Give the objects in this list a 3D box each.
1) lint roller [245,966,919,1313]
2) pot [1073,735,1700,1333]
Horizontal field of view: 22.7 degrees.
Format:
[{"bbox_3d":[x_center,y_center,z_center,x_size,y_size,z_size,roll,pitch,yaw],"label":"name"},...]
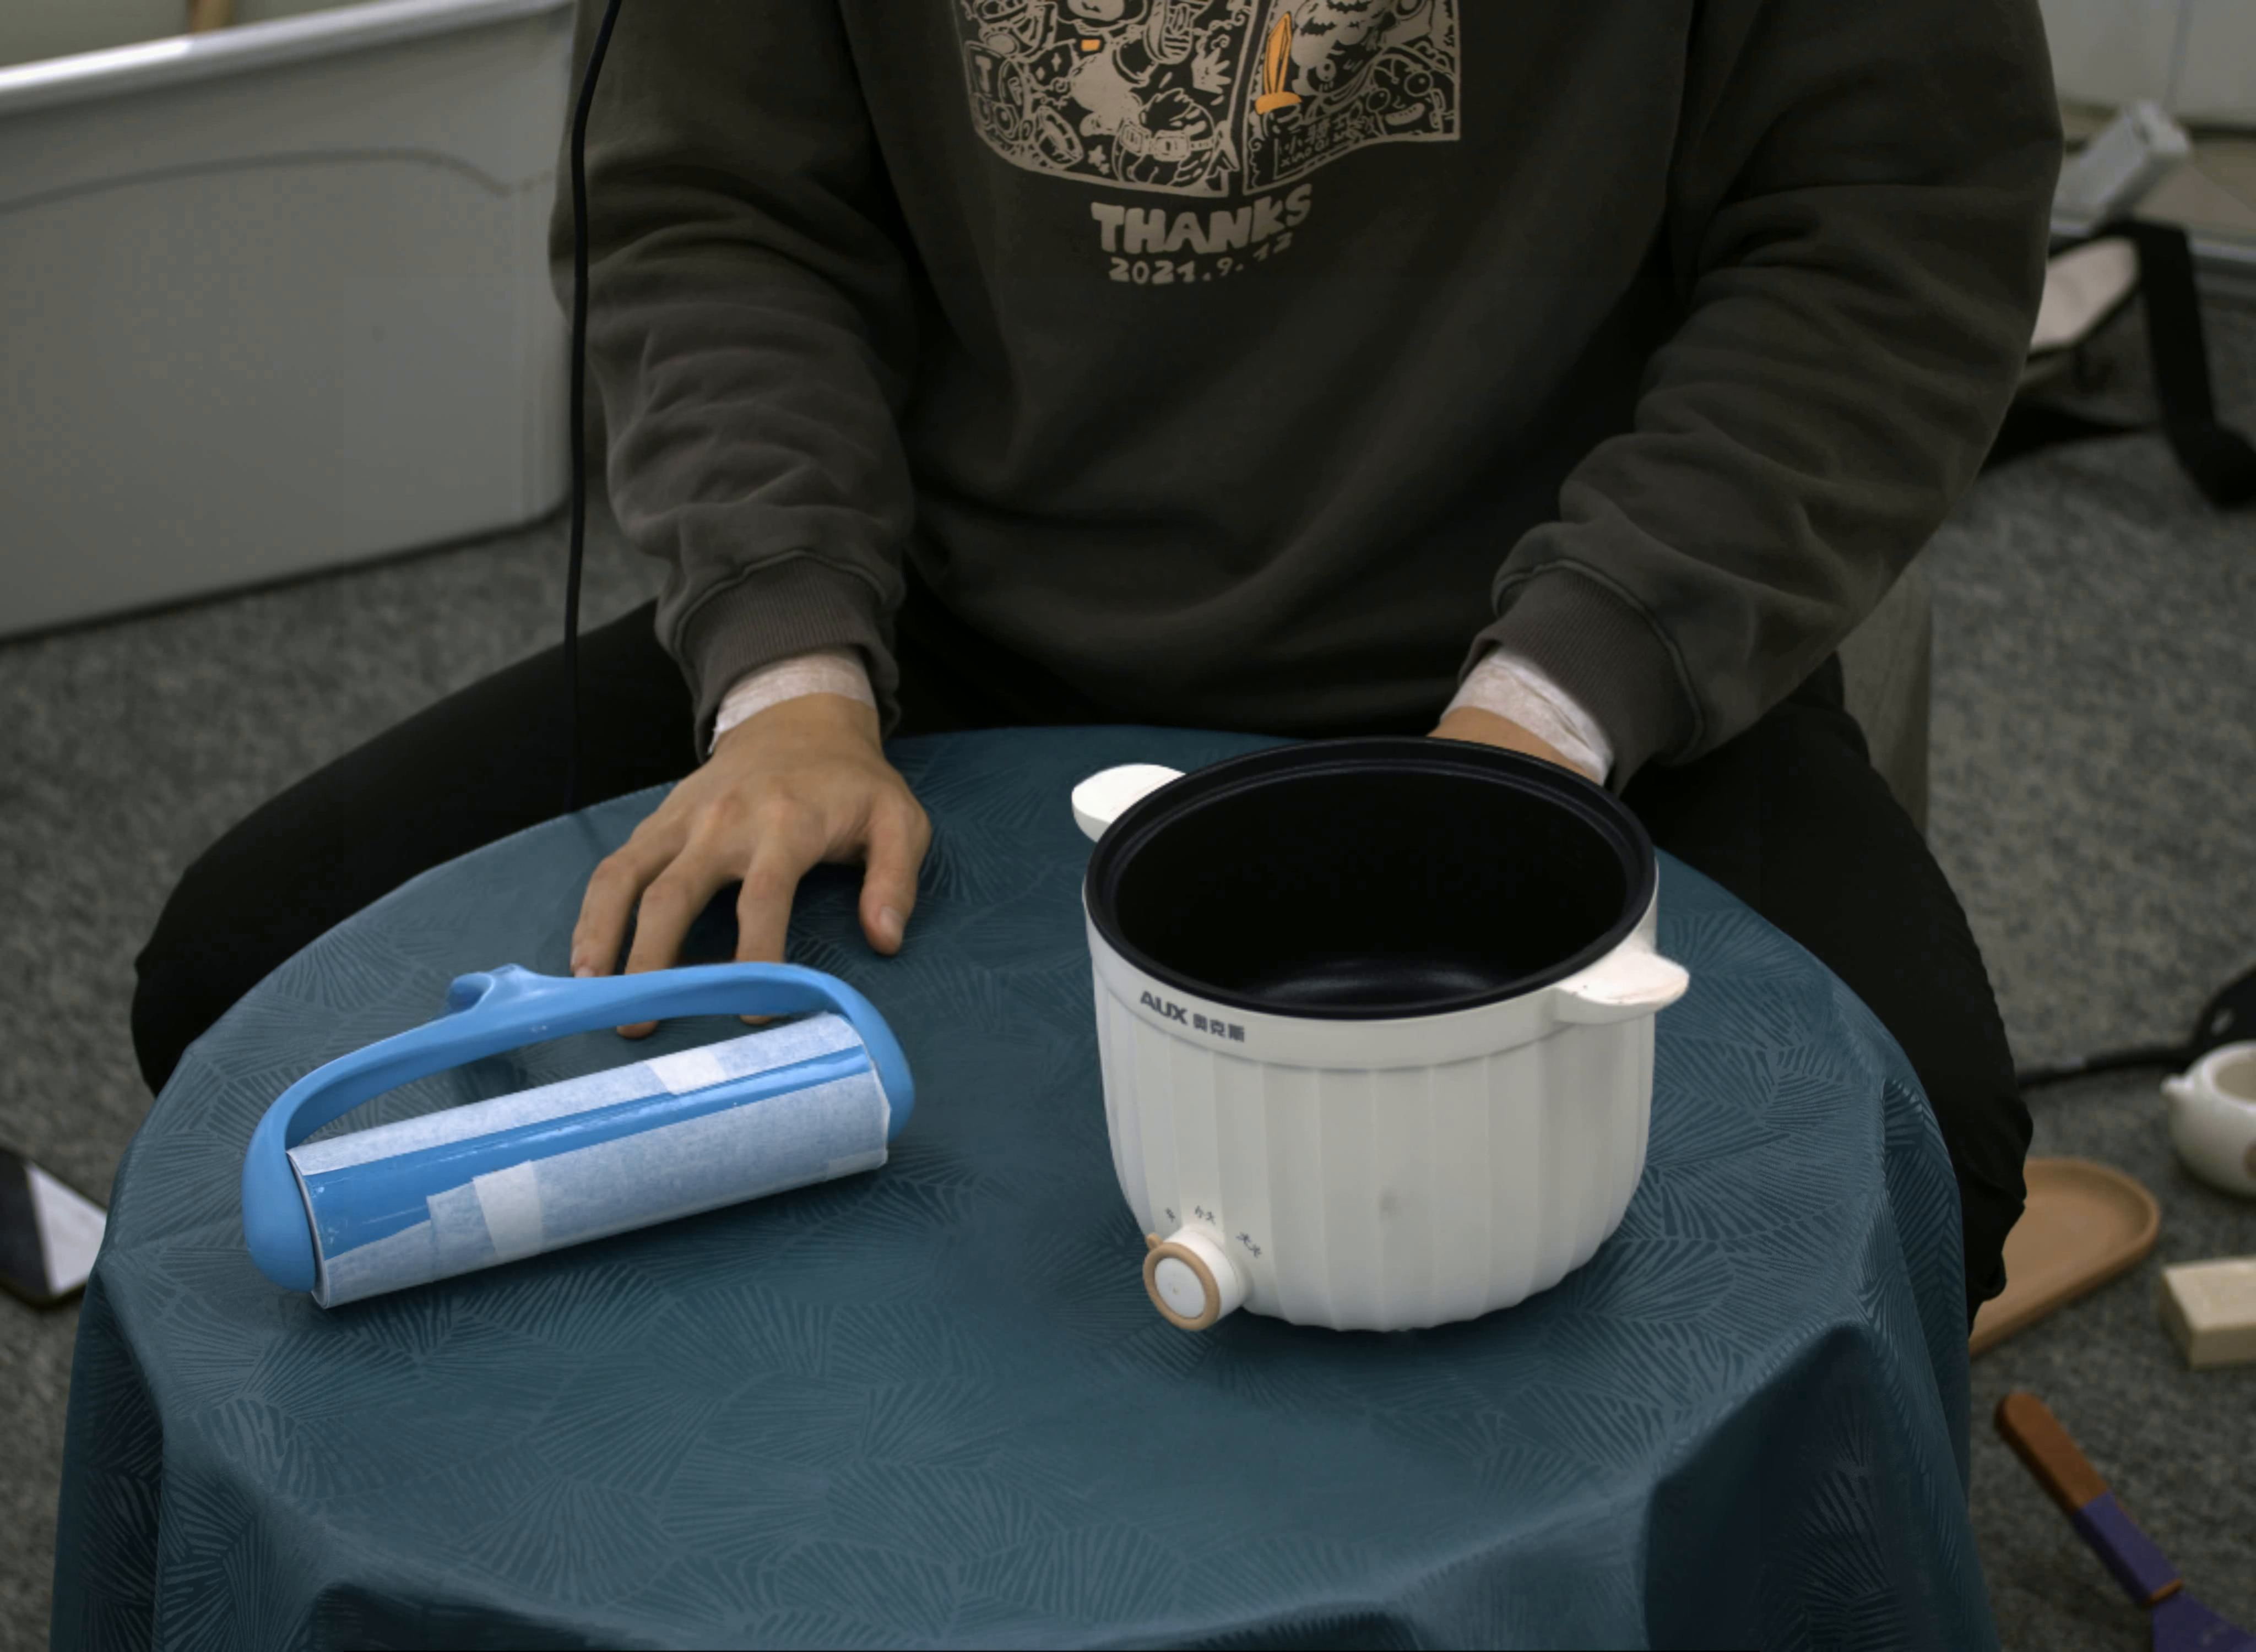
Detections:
[{"bbox_3d":[-0.202,0.084,1.891,0.230,0.067,0.181,-16,31,-20],"label":"lint roller"},{"bbox_3d":[0.078,0.073,1.797,0.239,0.141,0.193,18,31,37],"label":"pot"}]
